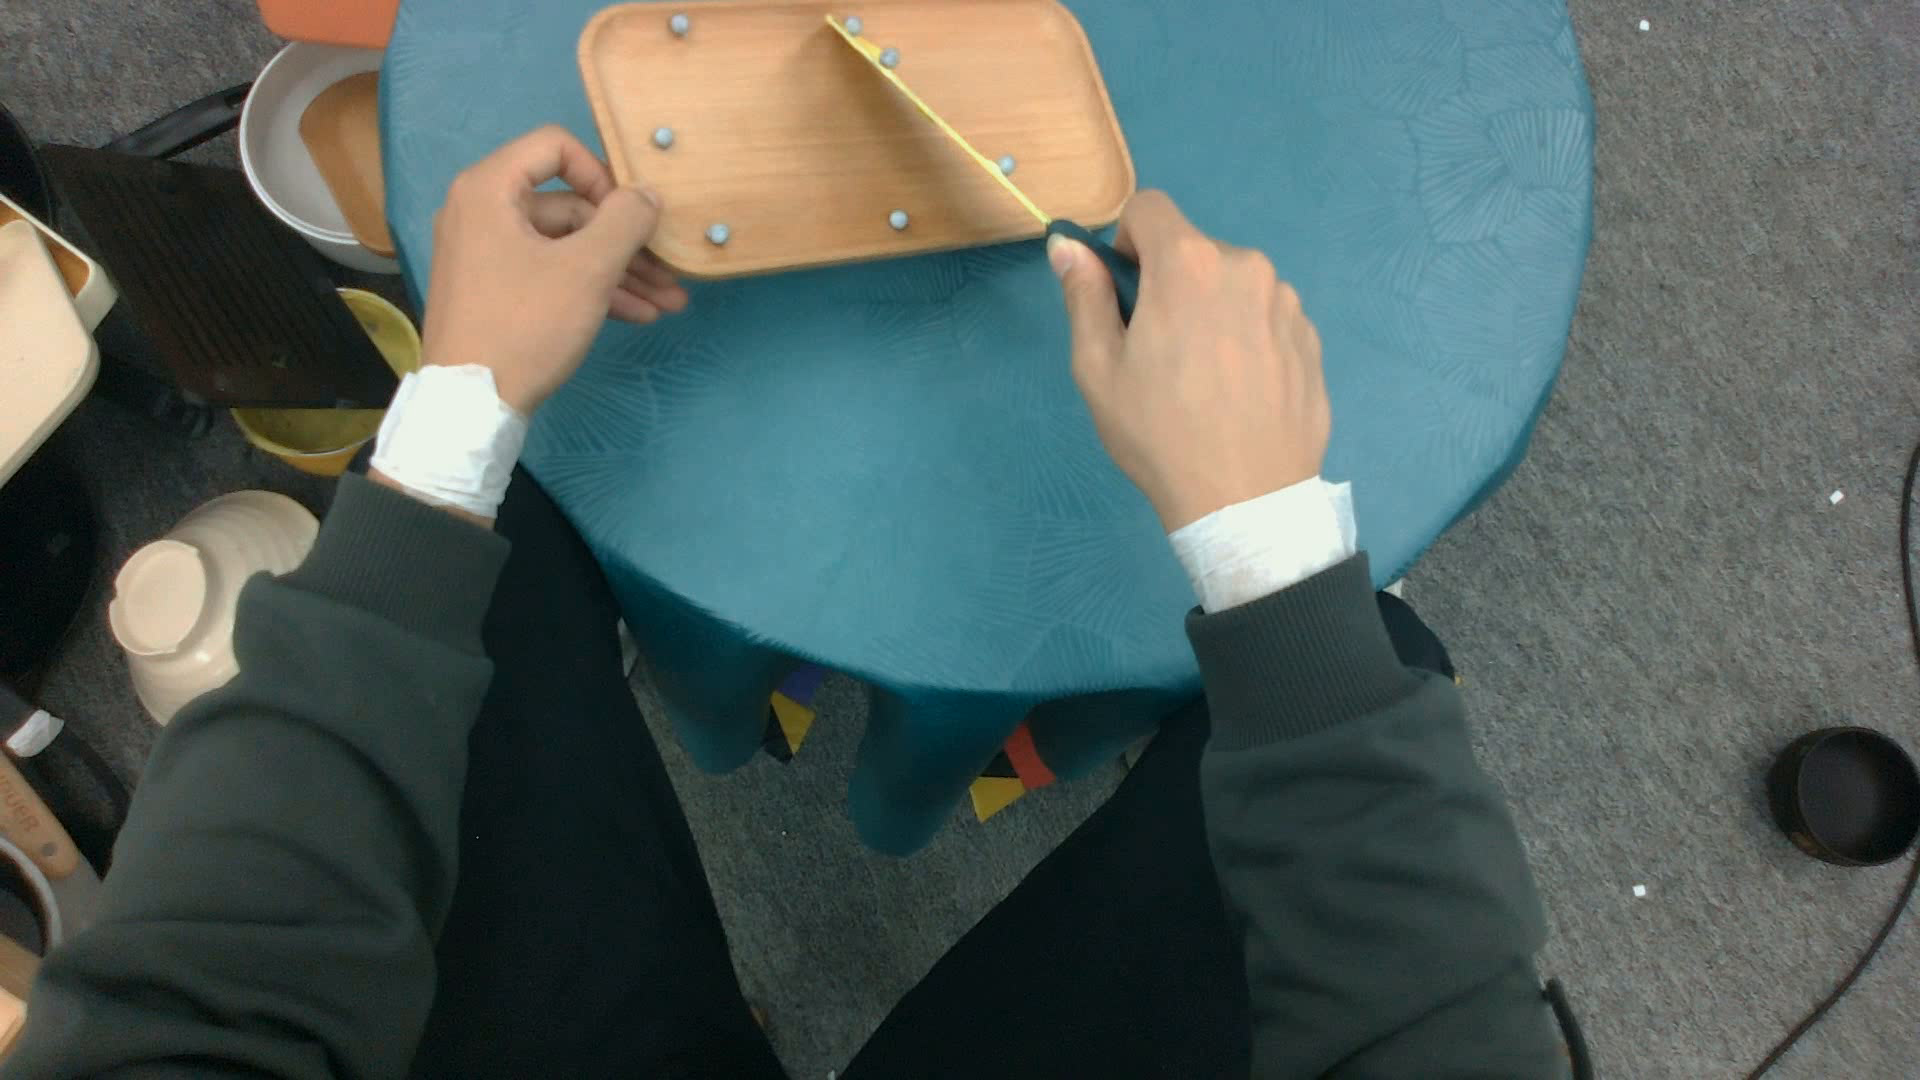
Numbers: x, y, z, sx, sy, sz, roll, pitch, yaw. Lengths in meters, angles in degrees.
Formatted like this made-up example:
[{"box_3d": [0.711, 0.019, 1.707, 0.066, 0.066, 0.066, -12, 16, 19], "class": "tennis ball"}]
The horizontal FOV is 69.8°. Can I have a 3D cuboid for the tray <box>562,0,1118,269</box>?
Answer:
[{"box_3d": [-0.046, -0.194, 0.626, 0.251, 0.023, 0.130, -14, 82, -28], "class": "tray"}]

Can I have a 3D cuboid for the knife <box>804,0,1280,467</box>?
[{"box_3d": [0.028, -0.137, 0.580, 0.027, 0.081, 0.289, -46, 77, 15], "class": "knife"}]
